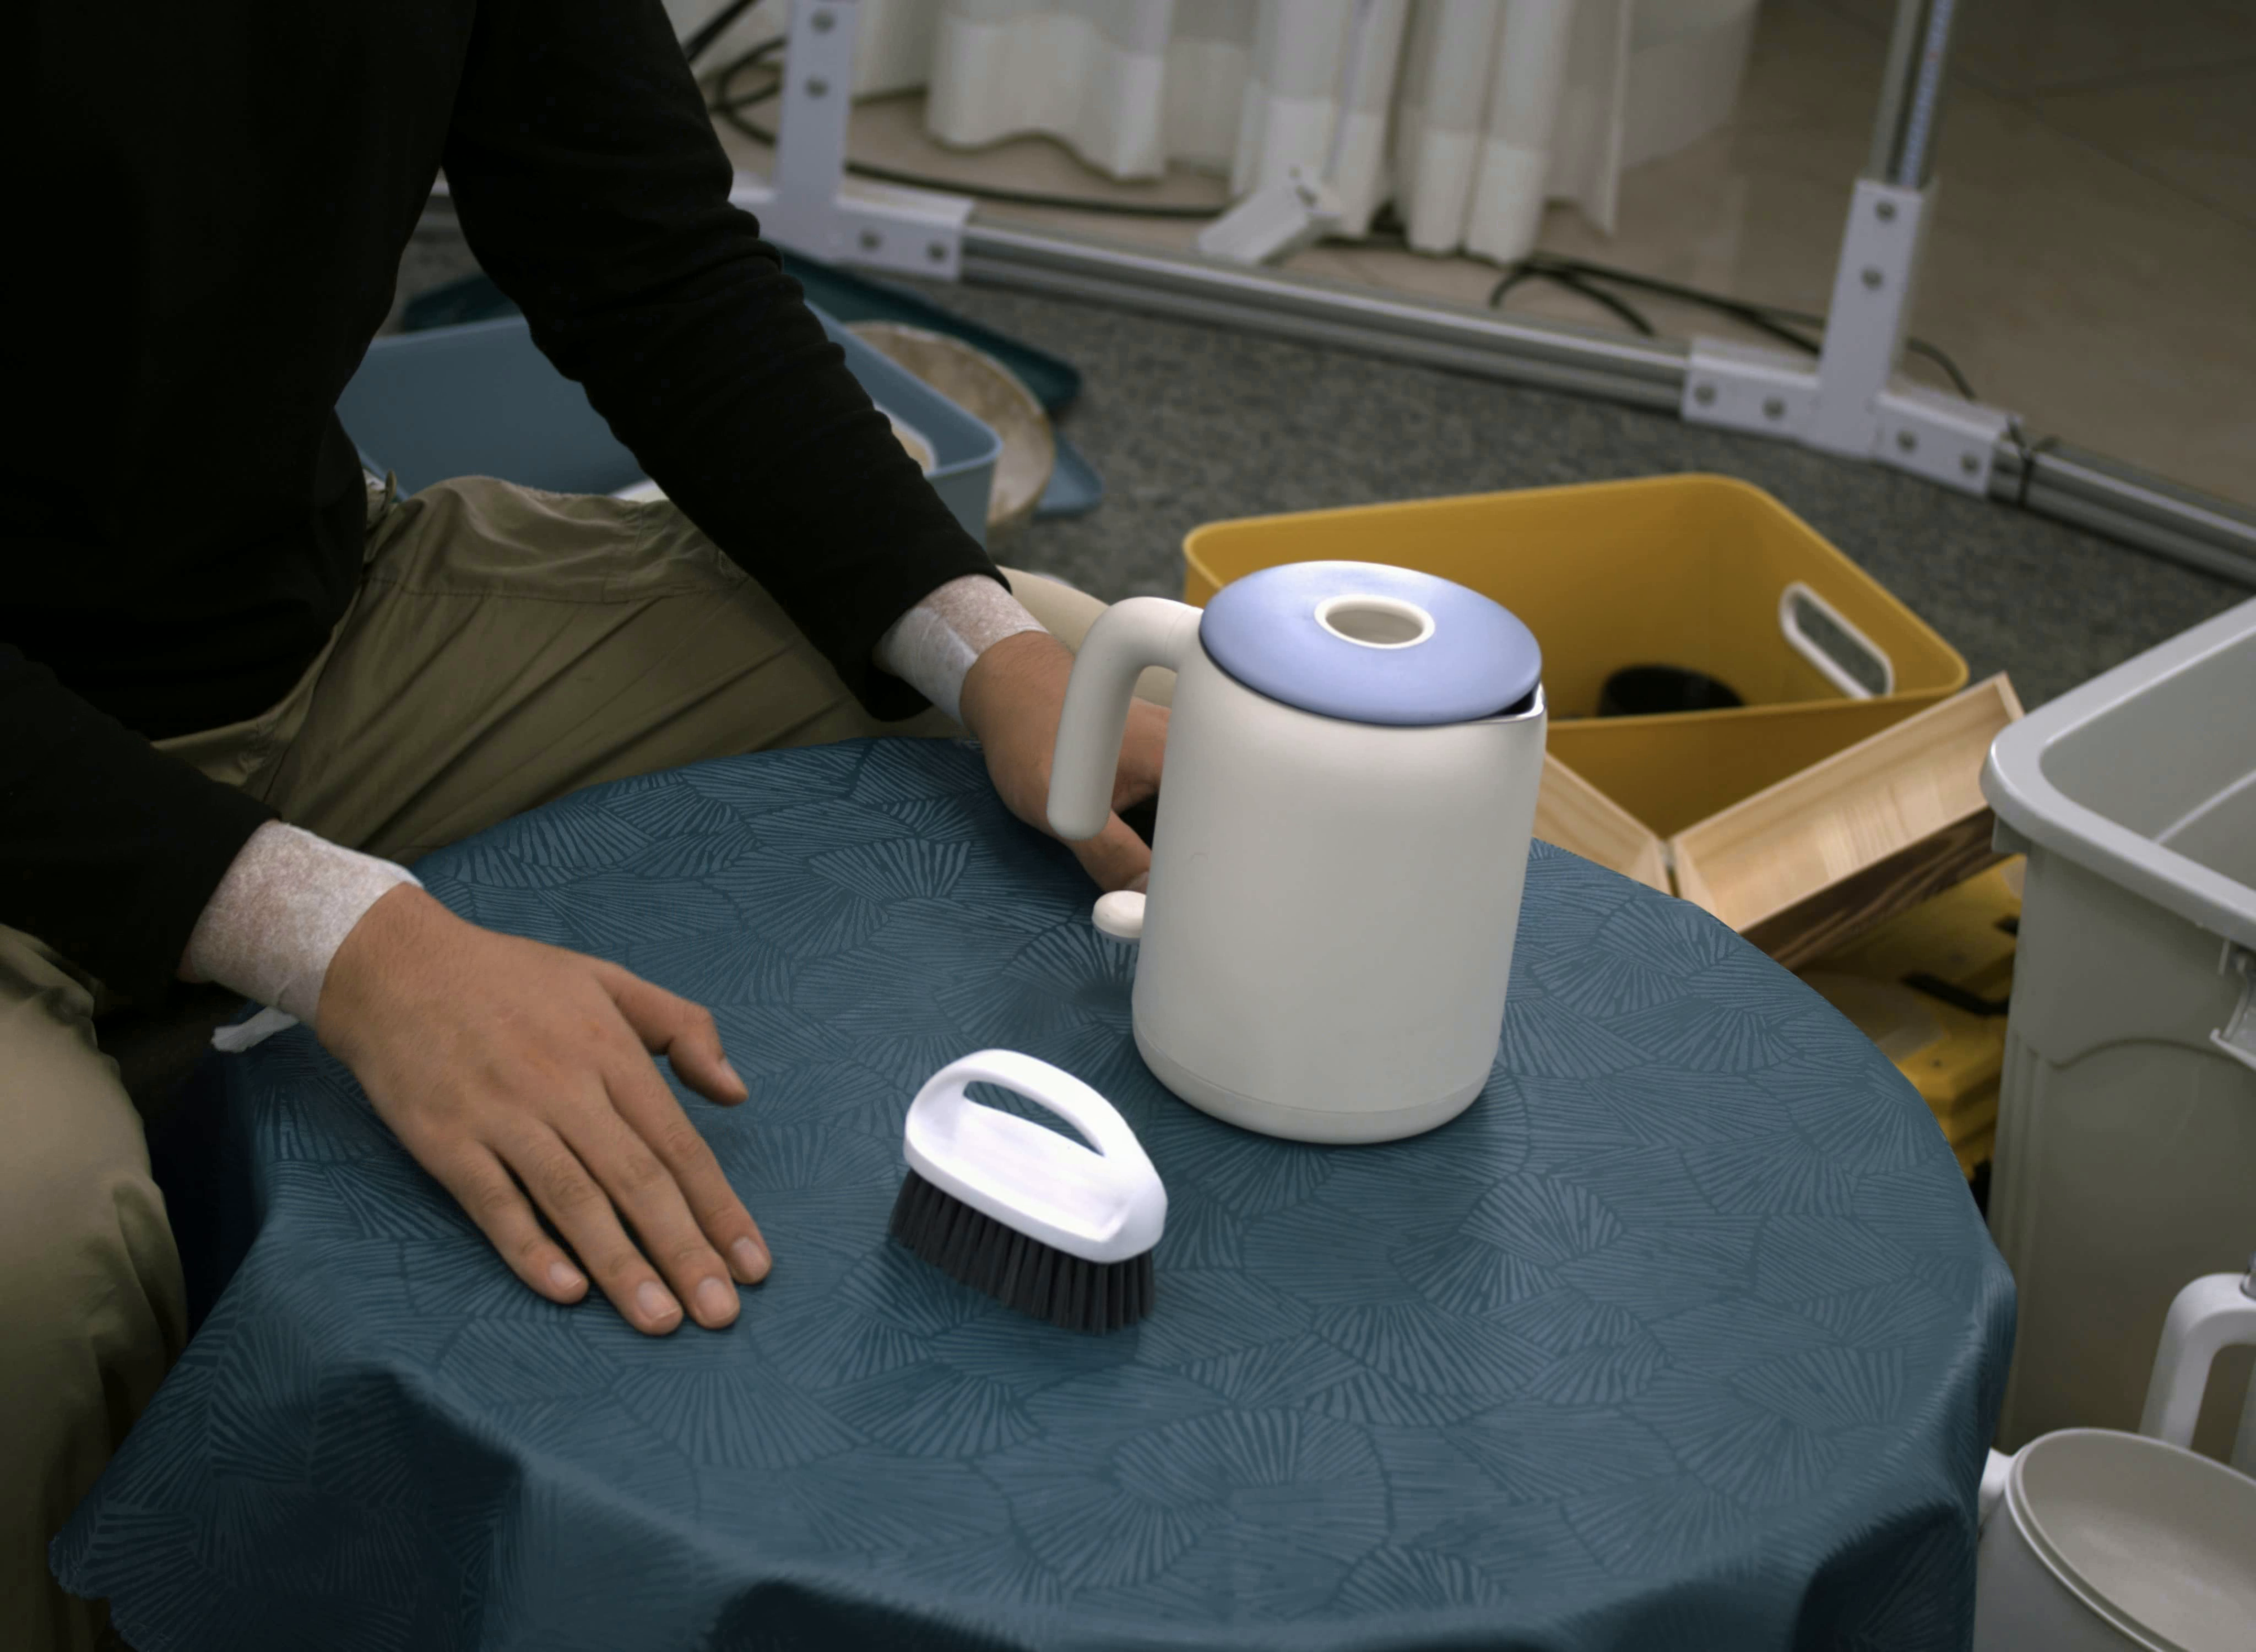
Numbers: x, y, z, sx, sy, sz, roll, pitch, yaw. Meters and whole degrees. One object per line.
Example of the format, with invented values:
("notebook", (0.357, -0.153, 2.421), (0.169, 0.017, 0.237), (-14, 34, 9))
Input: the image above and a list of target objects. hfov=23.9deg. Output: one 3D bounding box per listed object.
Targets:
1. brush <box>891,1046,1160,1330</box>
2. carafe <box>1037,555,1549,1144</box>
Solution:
("brush", (-0.032, 0.111, 1.737), (0.100, 0.072, 0.050), (27, 32, 34))
("carafe", (0.052, 0.000, 1.868), (0.192, 0.182, 0.132), (20, 29, 27))
